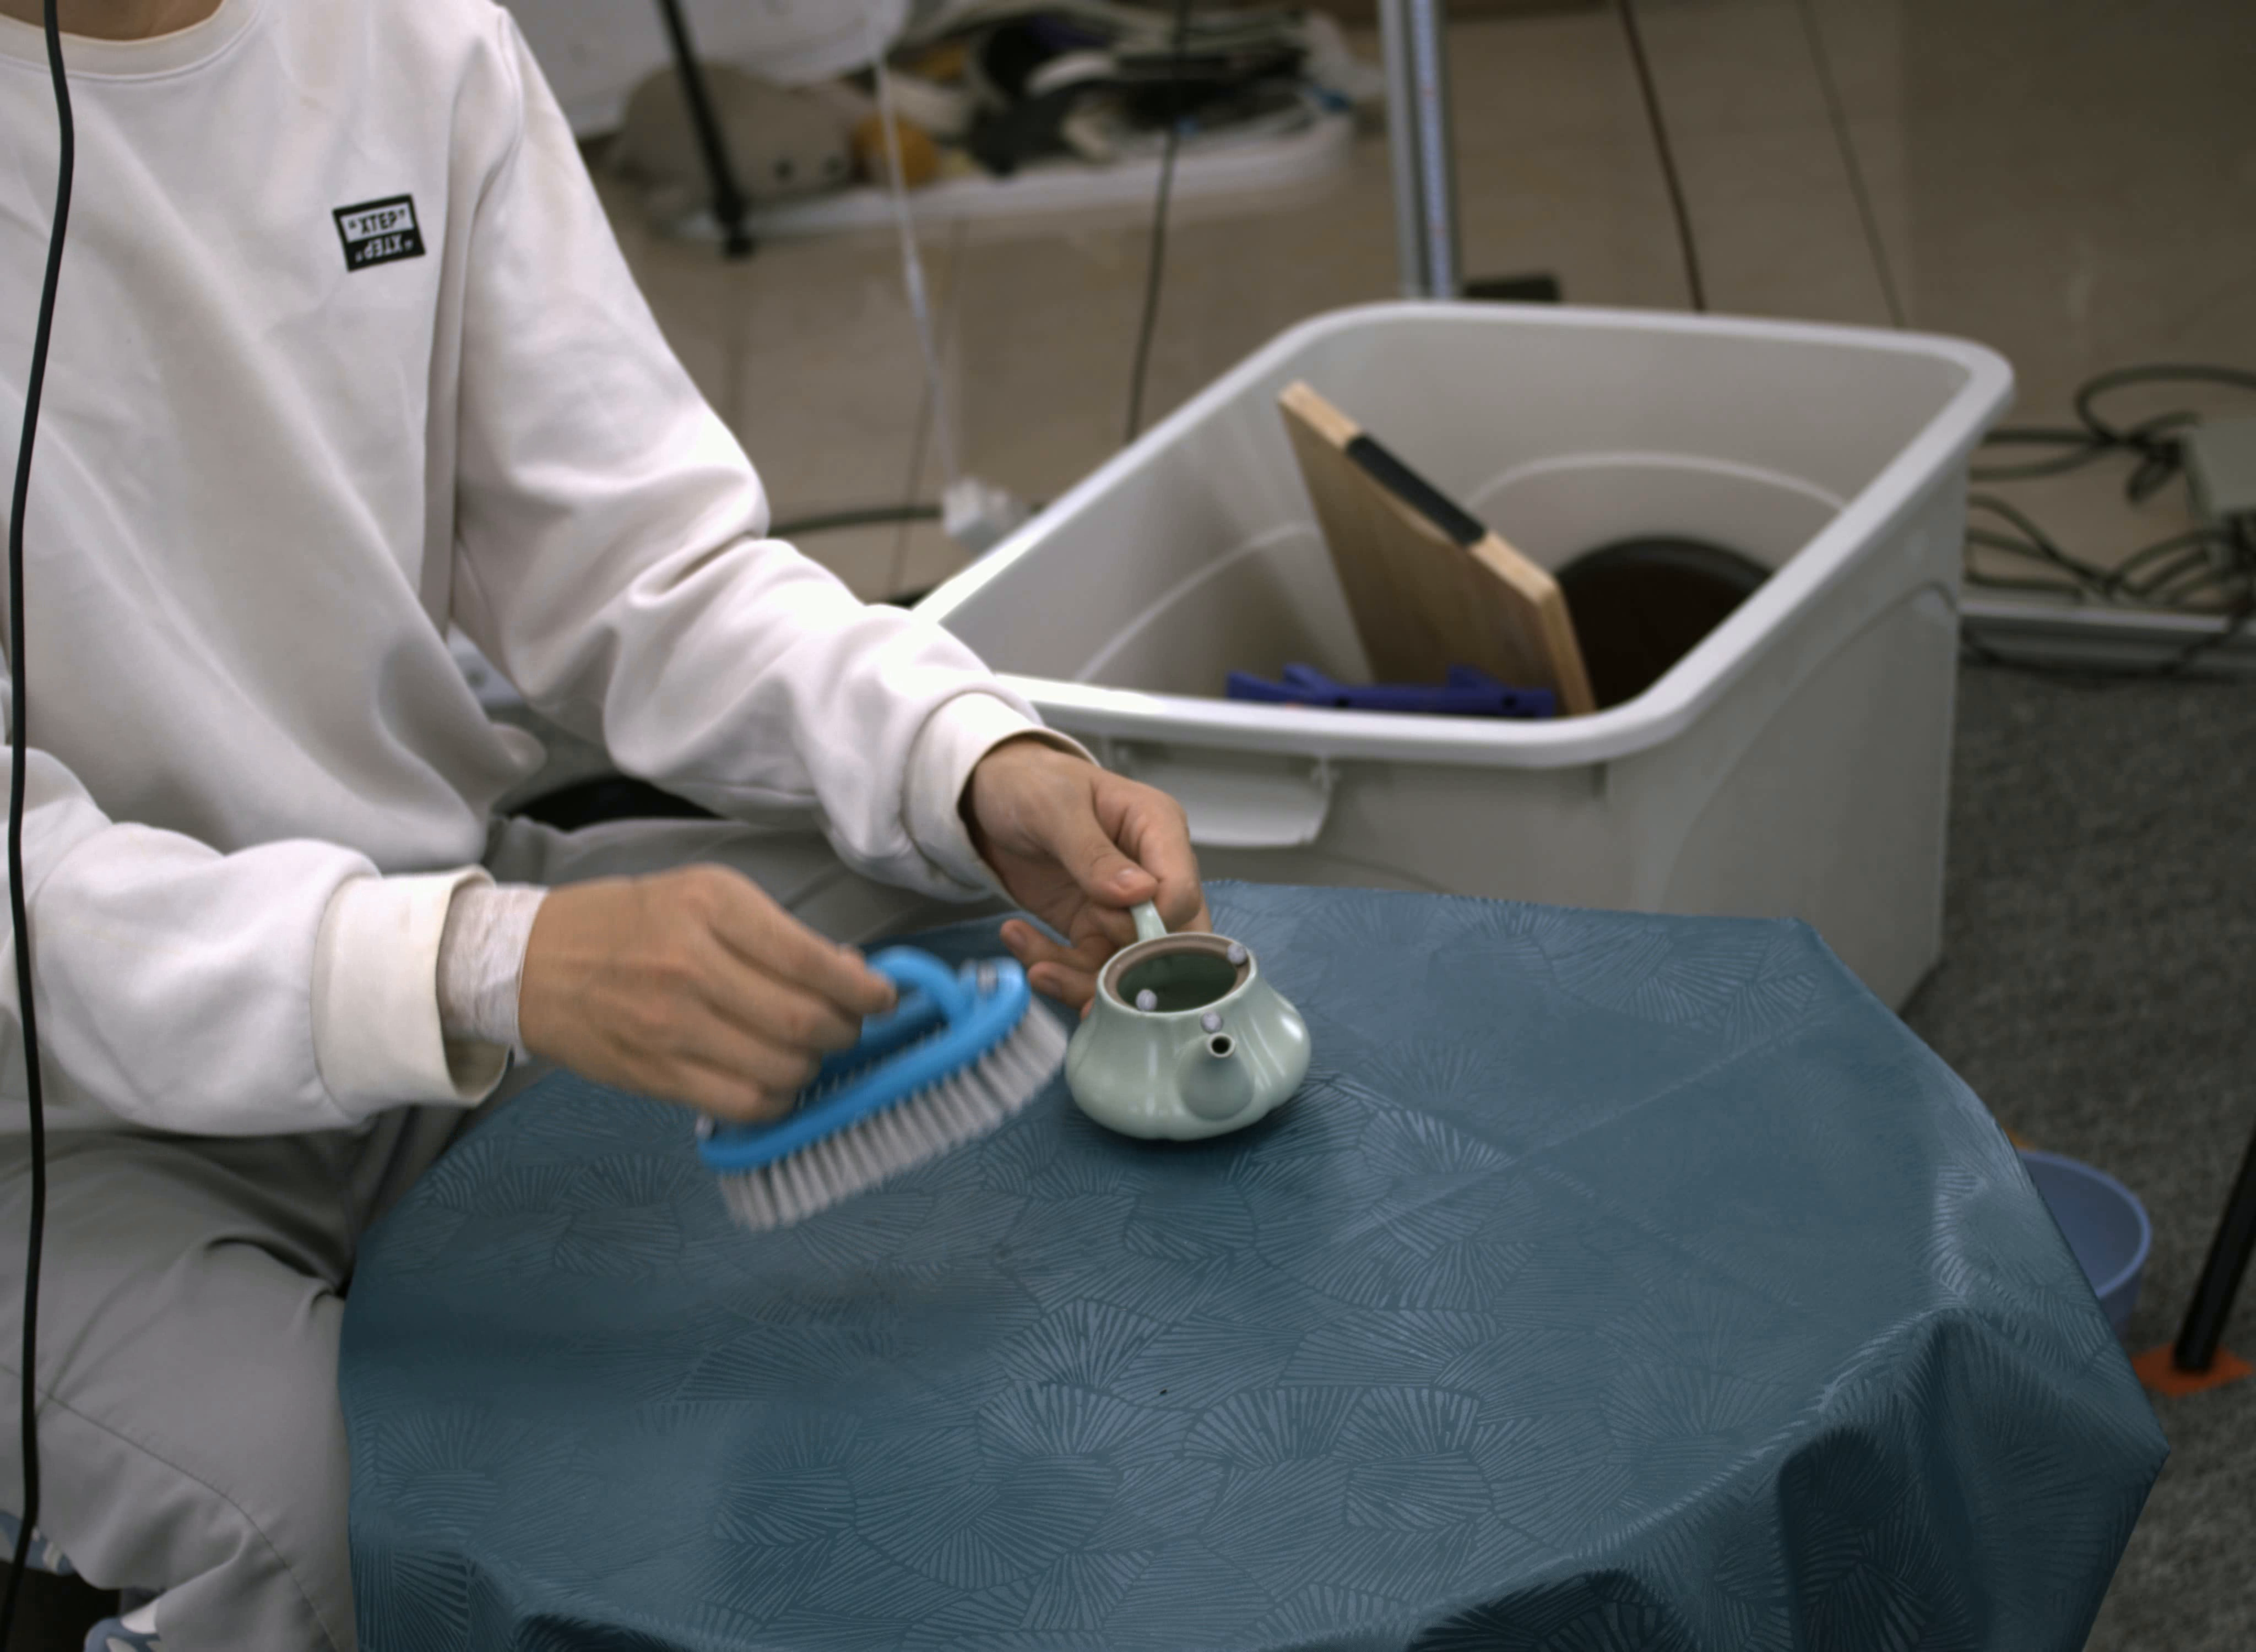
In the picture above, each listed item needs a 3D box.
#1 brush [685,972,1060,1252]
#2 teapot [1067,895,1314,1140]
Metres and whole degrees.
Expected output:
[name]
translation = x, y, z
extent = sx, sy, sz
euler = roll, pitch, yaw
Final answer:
[brush]
translation = -0.099, 0.094, 2.051
extent = 0.142, 0.064, 0.083
euler = -26, 25, 12
[teapot]
translation = 0.021, 0.077, 2.197
extent = 0.096, 0.062, 0.135
euler = -17, 32, -12
